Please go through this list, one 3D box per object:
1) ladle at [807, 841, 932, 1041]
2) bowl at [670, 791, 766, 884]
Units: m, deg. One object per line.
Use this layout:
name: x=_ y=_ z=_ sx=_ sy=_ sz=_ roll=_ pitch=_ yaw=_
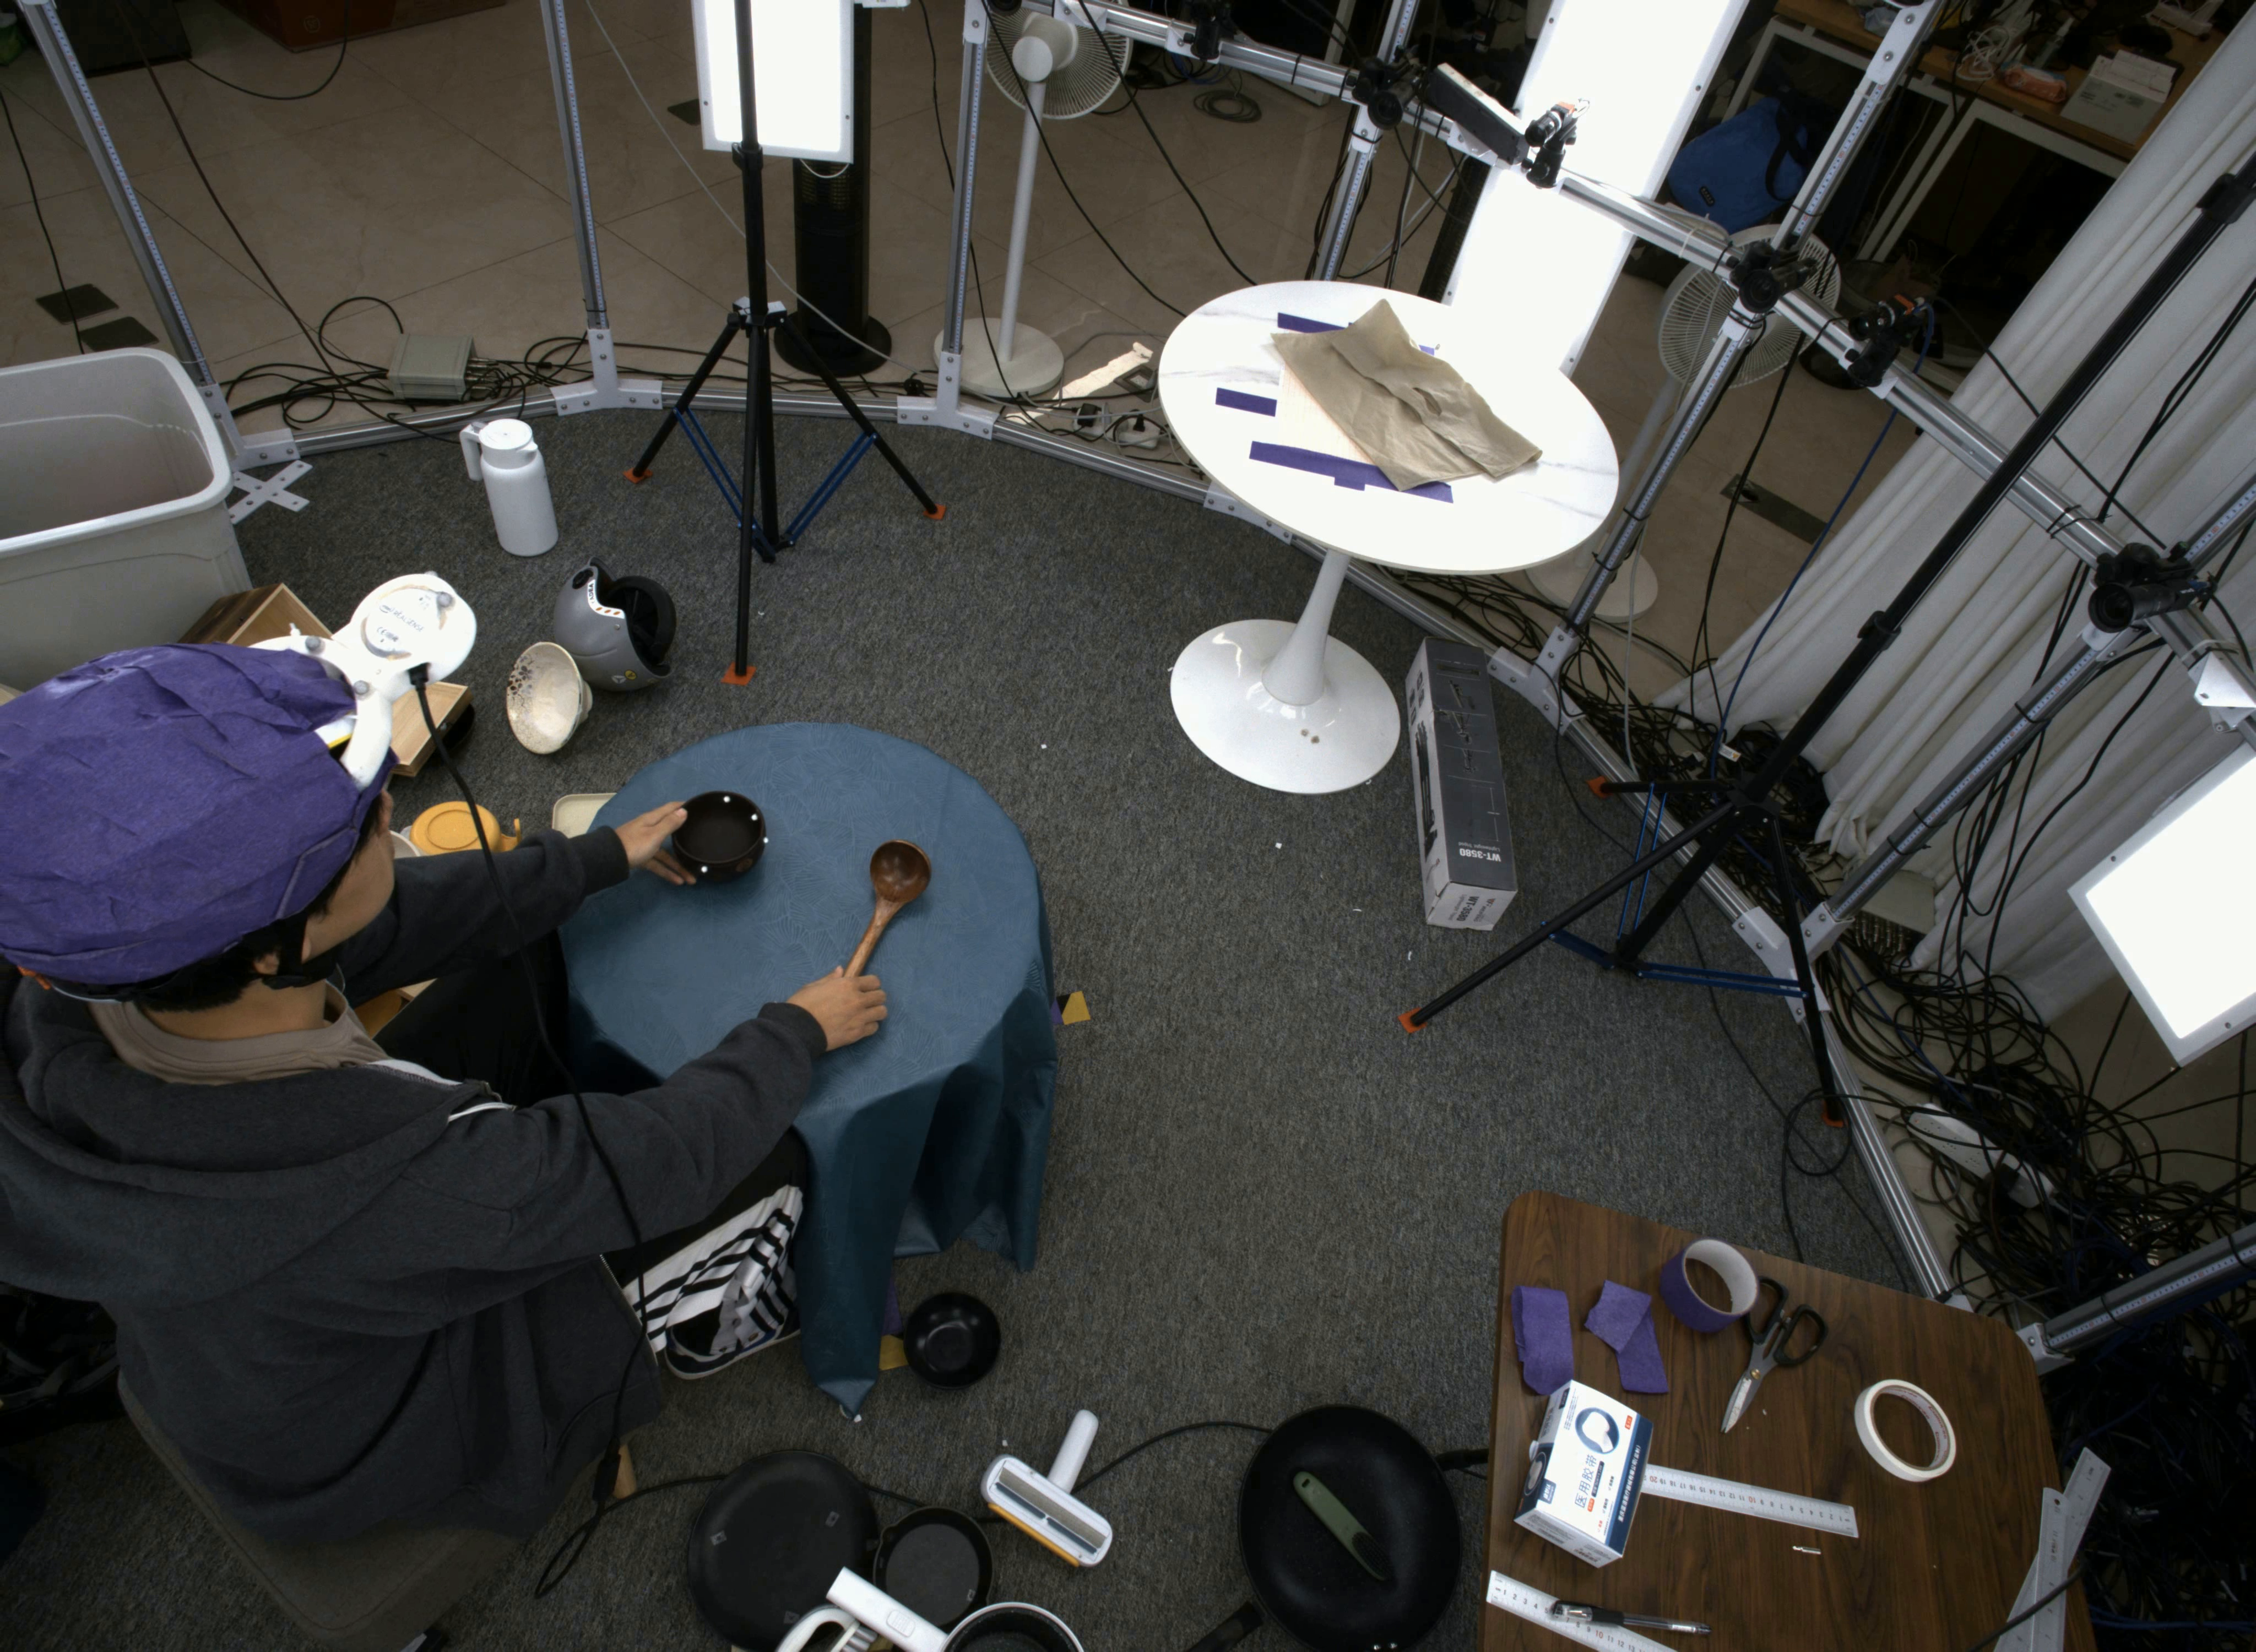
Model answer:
ladle: x=-0.323 y=0.134 z=1.604 sx=0.080 sy=0.078 sz=0.271 roll=19 pitch=51 yaw=6
bowl: x=-0.520 y=0.021 z=1.640 sx=0.118 sy=0.071 sz=0.116 roll=8 pitch=52 yaw=-9
